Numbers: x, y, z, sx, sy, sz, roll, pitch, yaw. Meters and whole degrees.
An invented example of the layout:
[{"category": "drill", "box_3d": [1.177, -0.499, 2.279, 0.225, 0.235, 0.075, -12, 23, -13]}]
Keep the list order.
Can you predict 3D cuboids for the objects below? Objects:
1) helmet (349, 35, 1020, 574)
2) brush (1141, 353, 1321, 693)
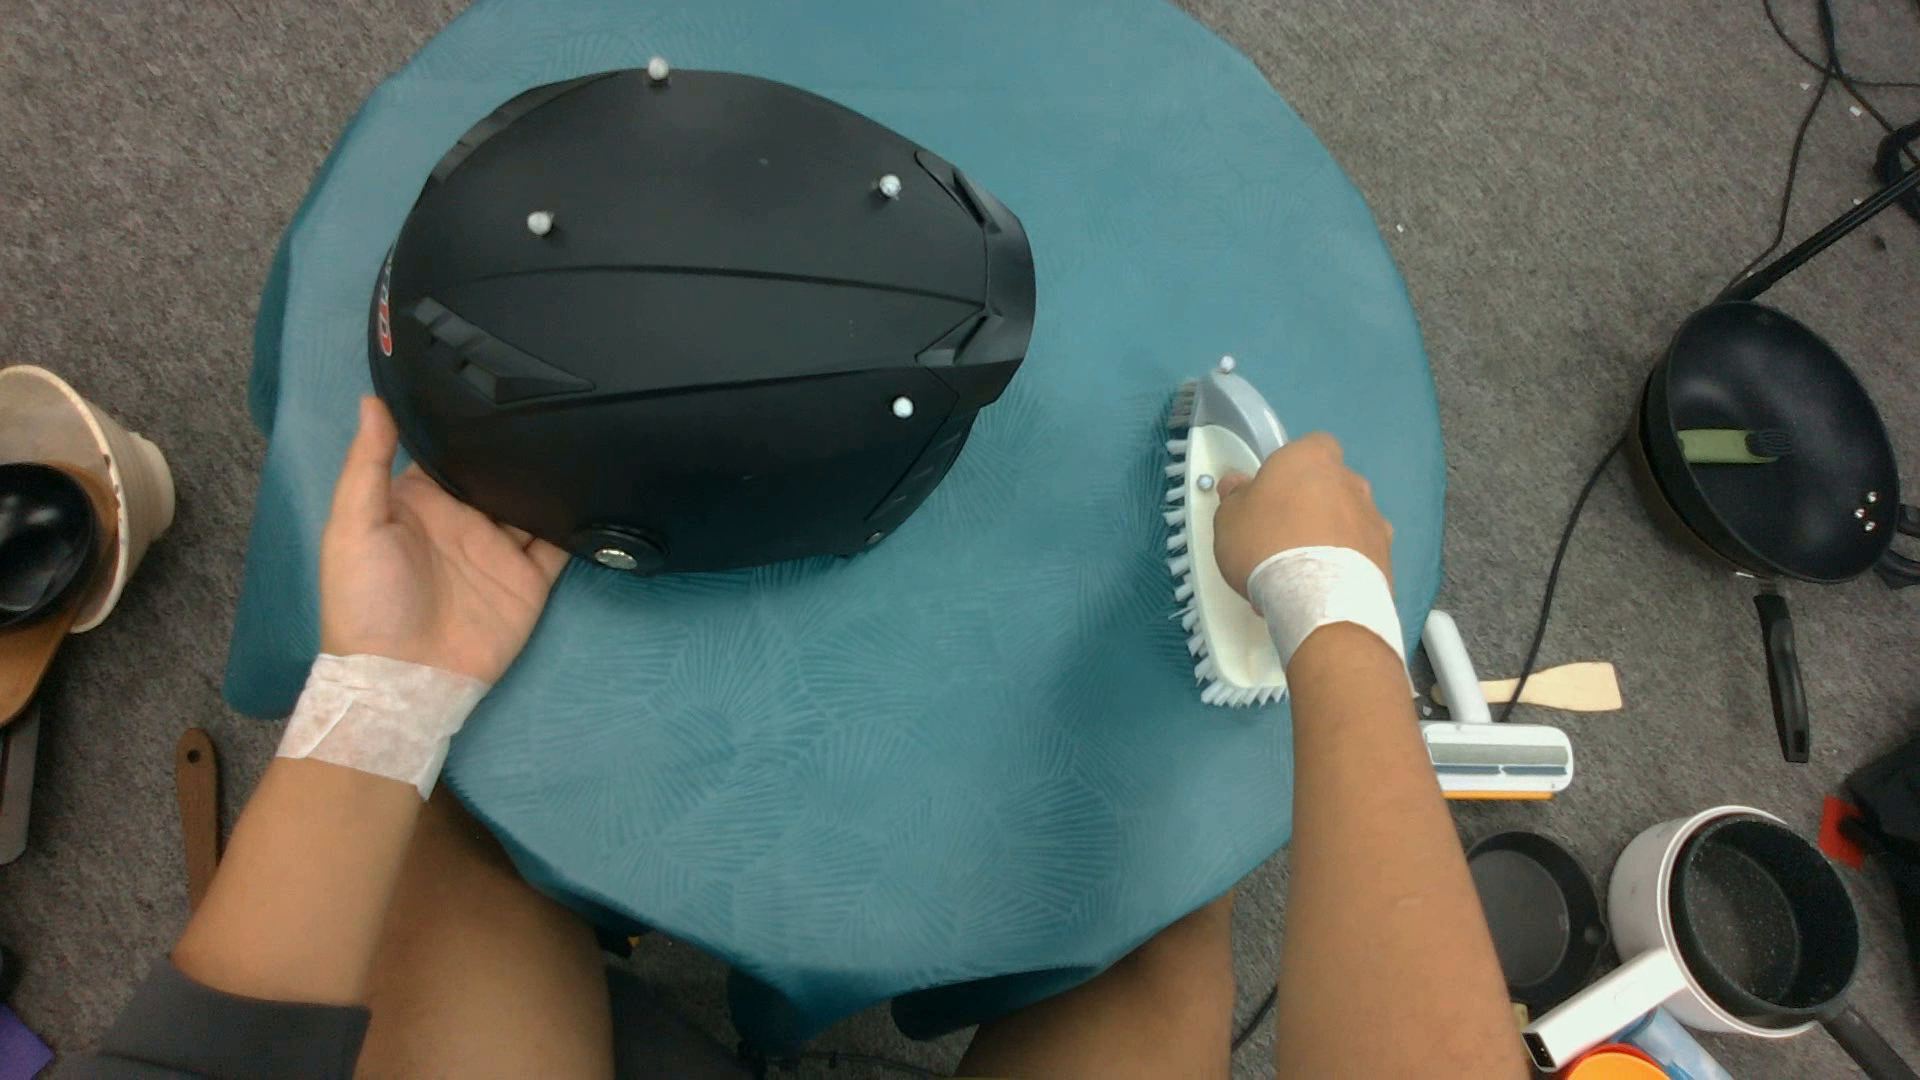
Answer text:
[{"category": "helmet", "box_3d": [-0.119, -0.116, 0.603, 0.277, 0.171, 0.247, 7, 69, -18]}, {"category": "brush", "box_3d": [0.132, -0.020, 0.675, 0.061, 0.094, 0.176, -2, 70, -20]}]
